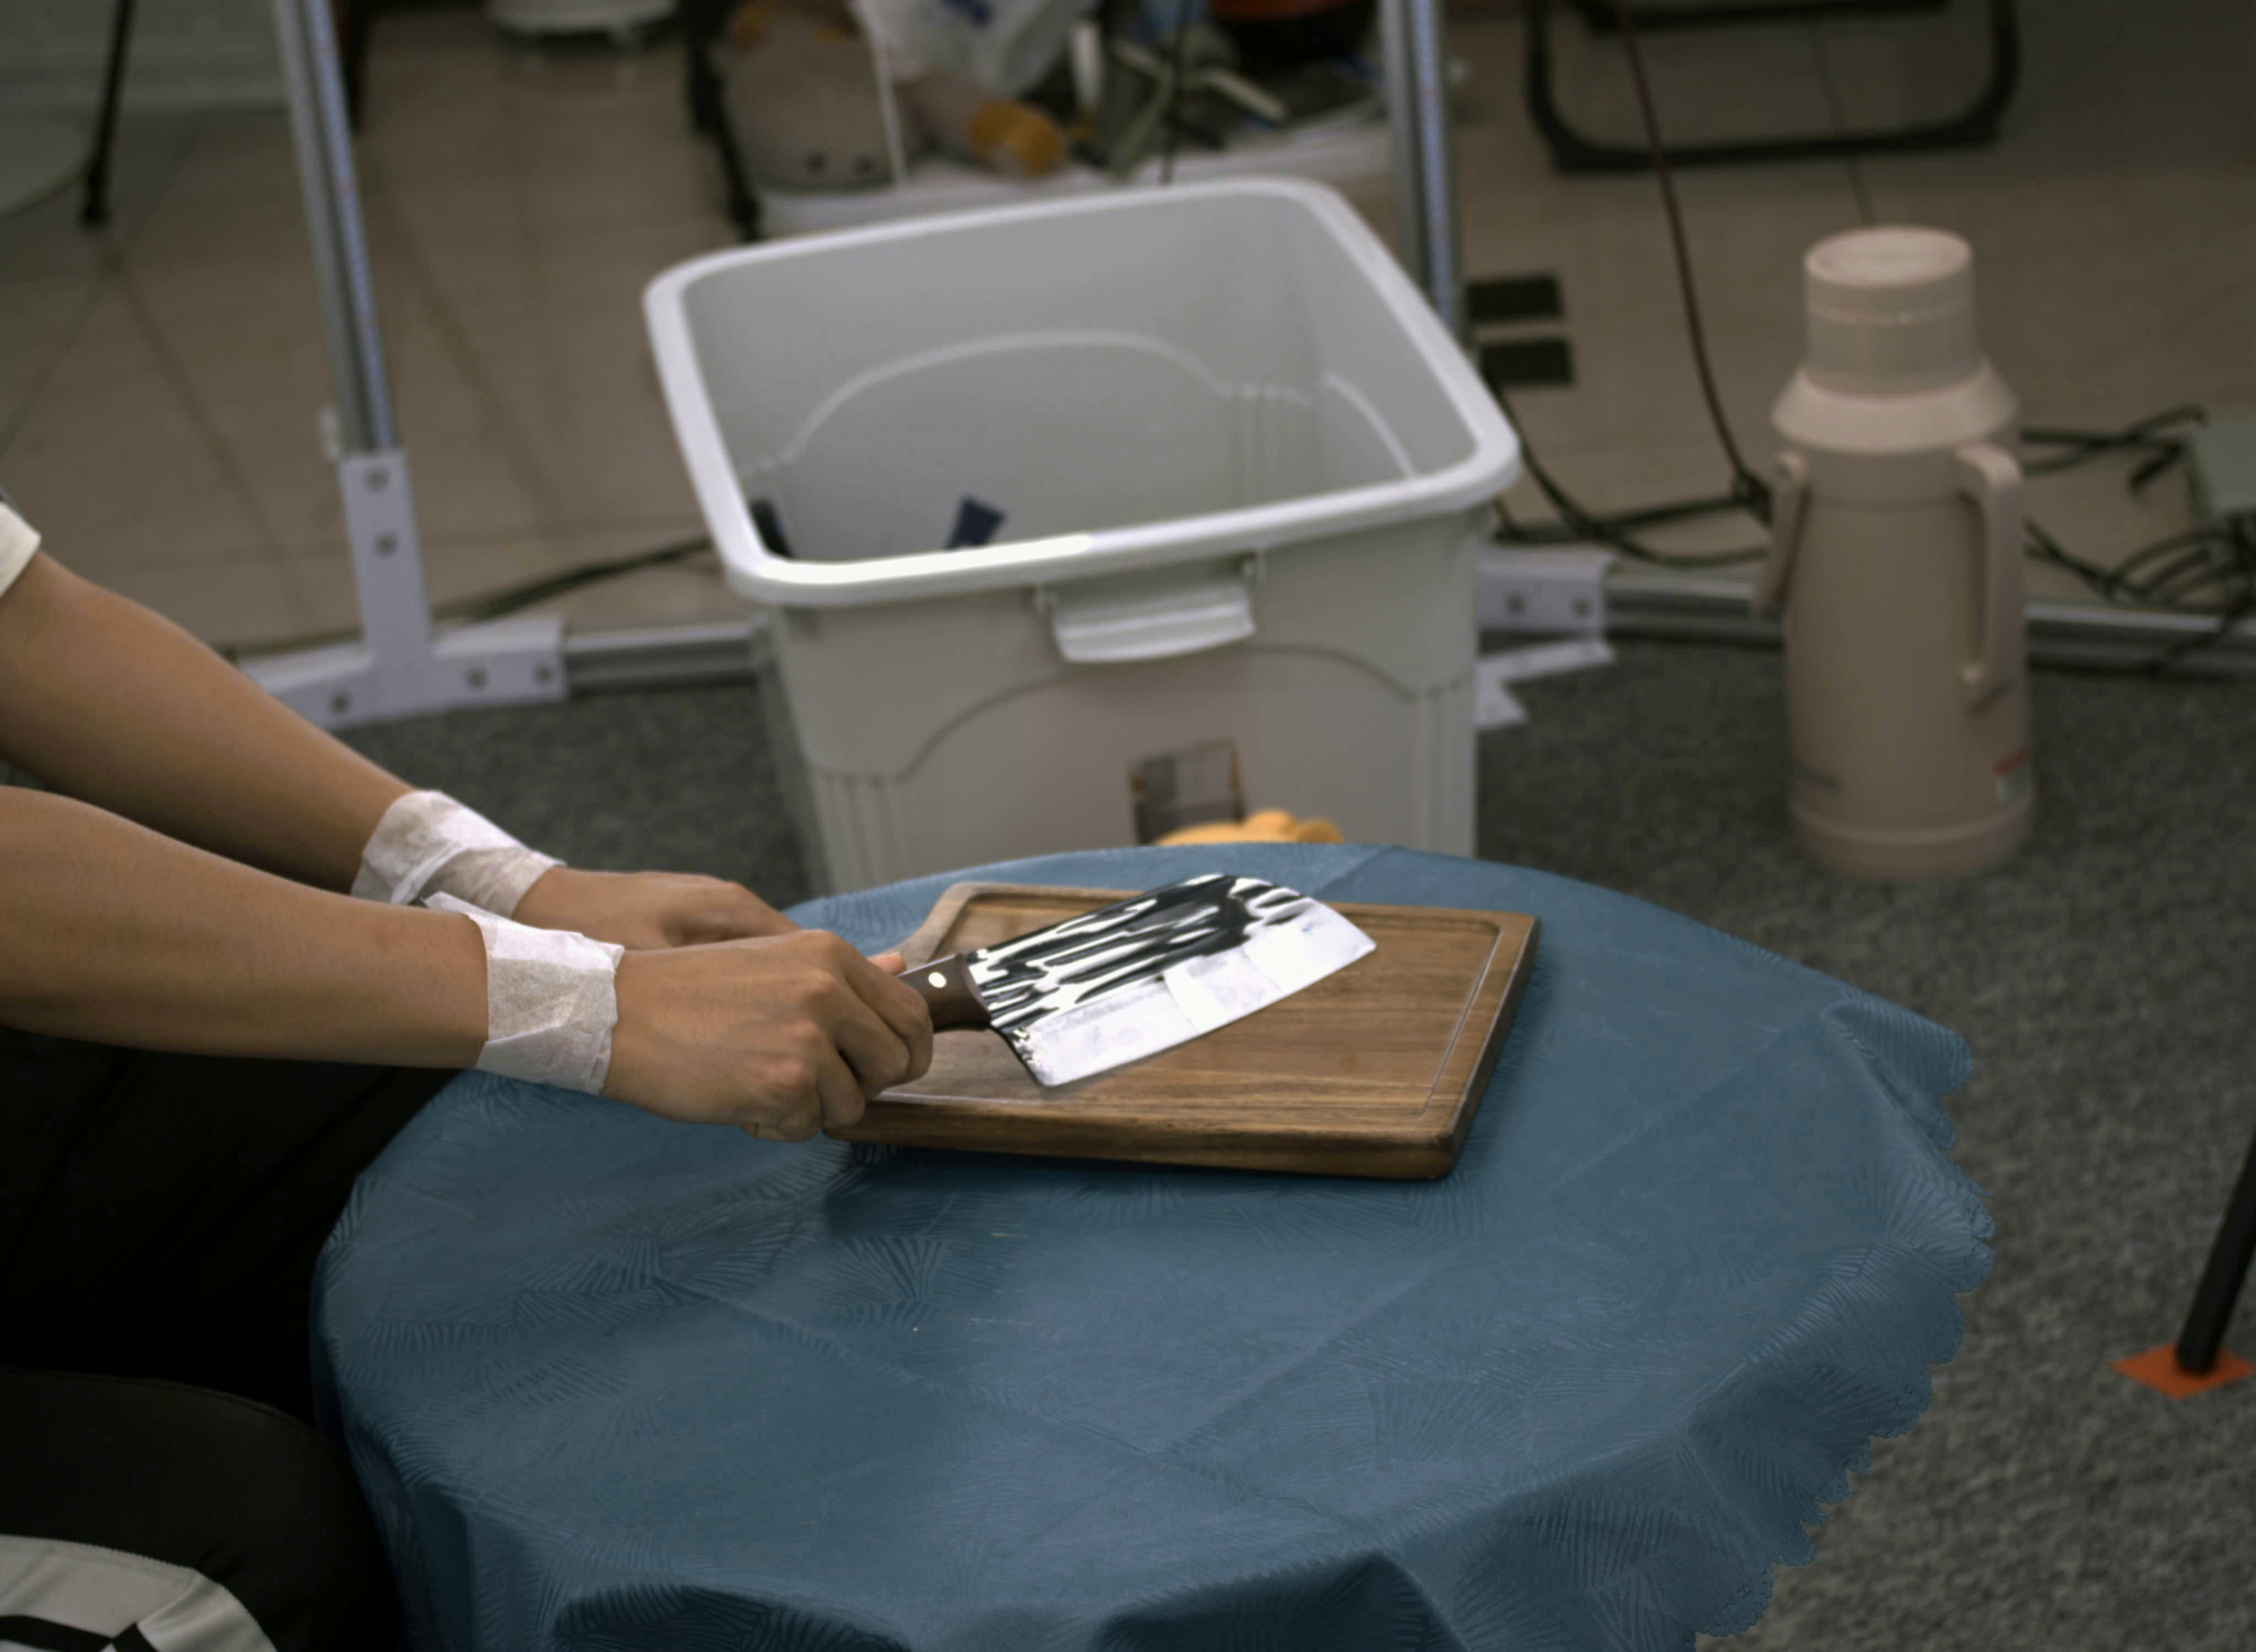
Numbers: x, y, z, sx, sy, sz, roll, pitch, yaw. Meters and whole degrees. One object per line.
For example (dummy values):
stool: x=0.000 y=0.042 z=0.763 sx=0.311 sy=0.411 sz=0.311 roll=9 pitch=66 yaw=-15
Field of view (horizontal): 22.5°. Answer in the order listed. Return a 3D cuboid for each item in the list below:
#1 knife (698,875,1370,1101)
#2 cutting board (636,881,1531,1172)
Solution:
knife: x=-0.031 y=0.068 z=2.198 sx=0.298 sy=0.024 sz=0.067 roll=-17 pitch=62 yaw=-35
cutting board: x=-0.026 y=0.074 z=2.251 sx=0.351 sy=0.023 sz=0.198 roll=3 pitch=26 yaw=14
